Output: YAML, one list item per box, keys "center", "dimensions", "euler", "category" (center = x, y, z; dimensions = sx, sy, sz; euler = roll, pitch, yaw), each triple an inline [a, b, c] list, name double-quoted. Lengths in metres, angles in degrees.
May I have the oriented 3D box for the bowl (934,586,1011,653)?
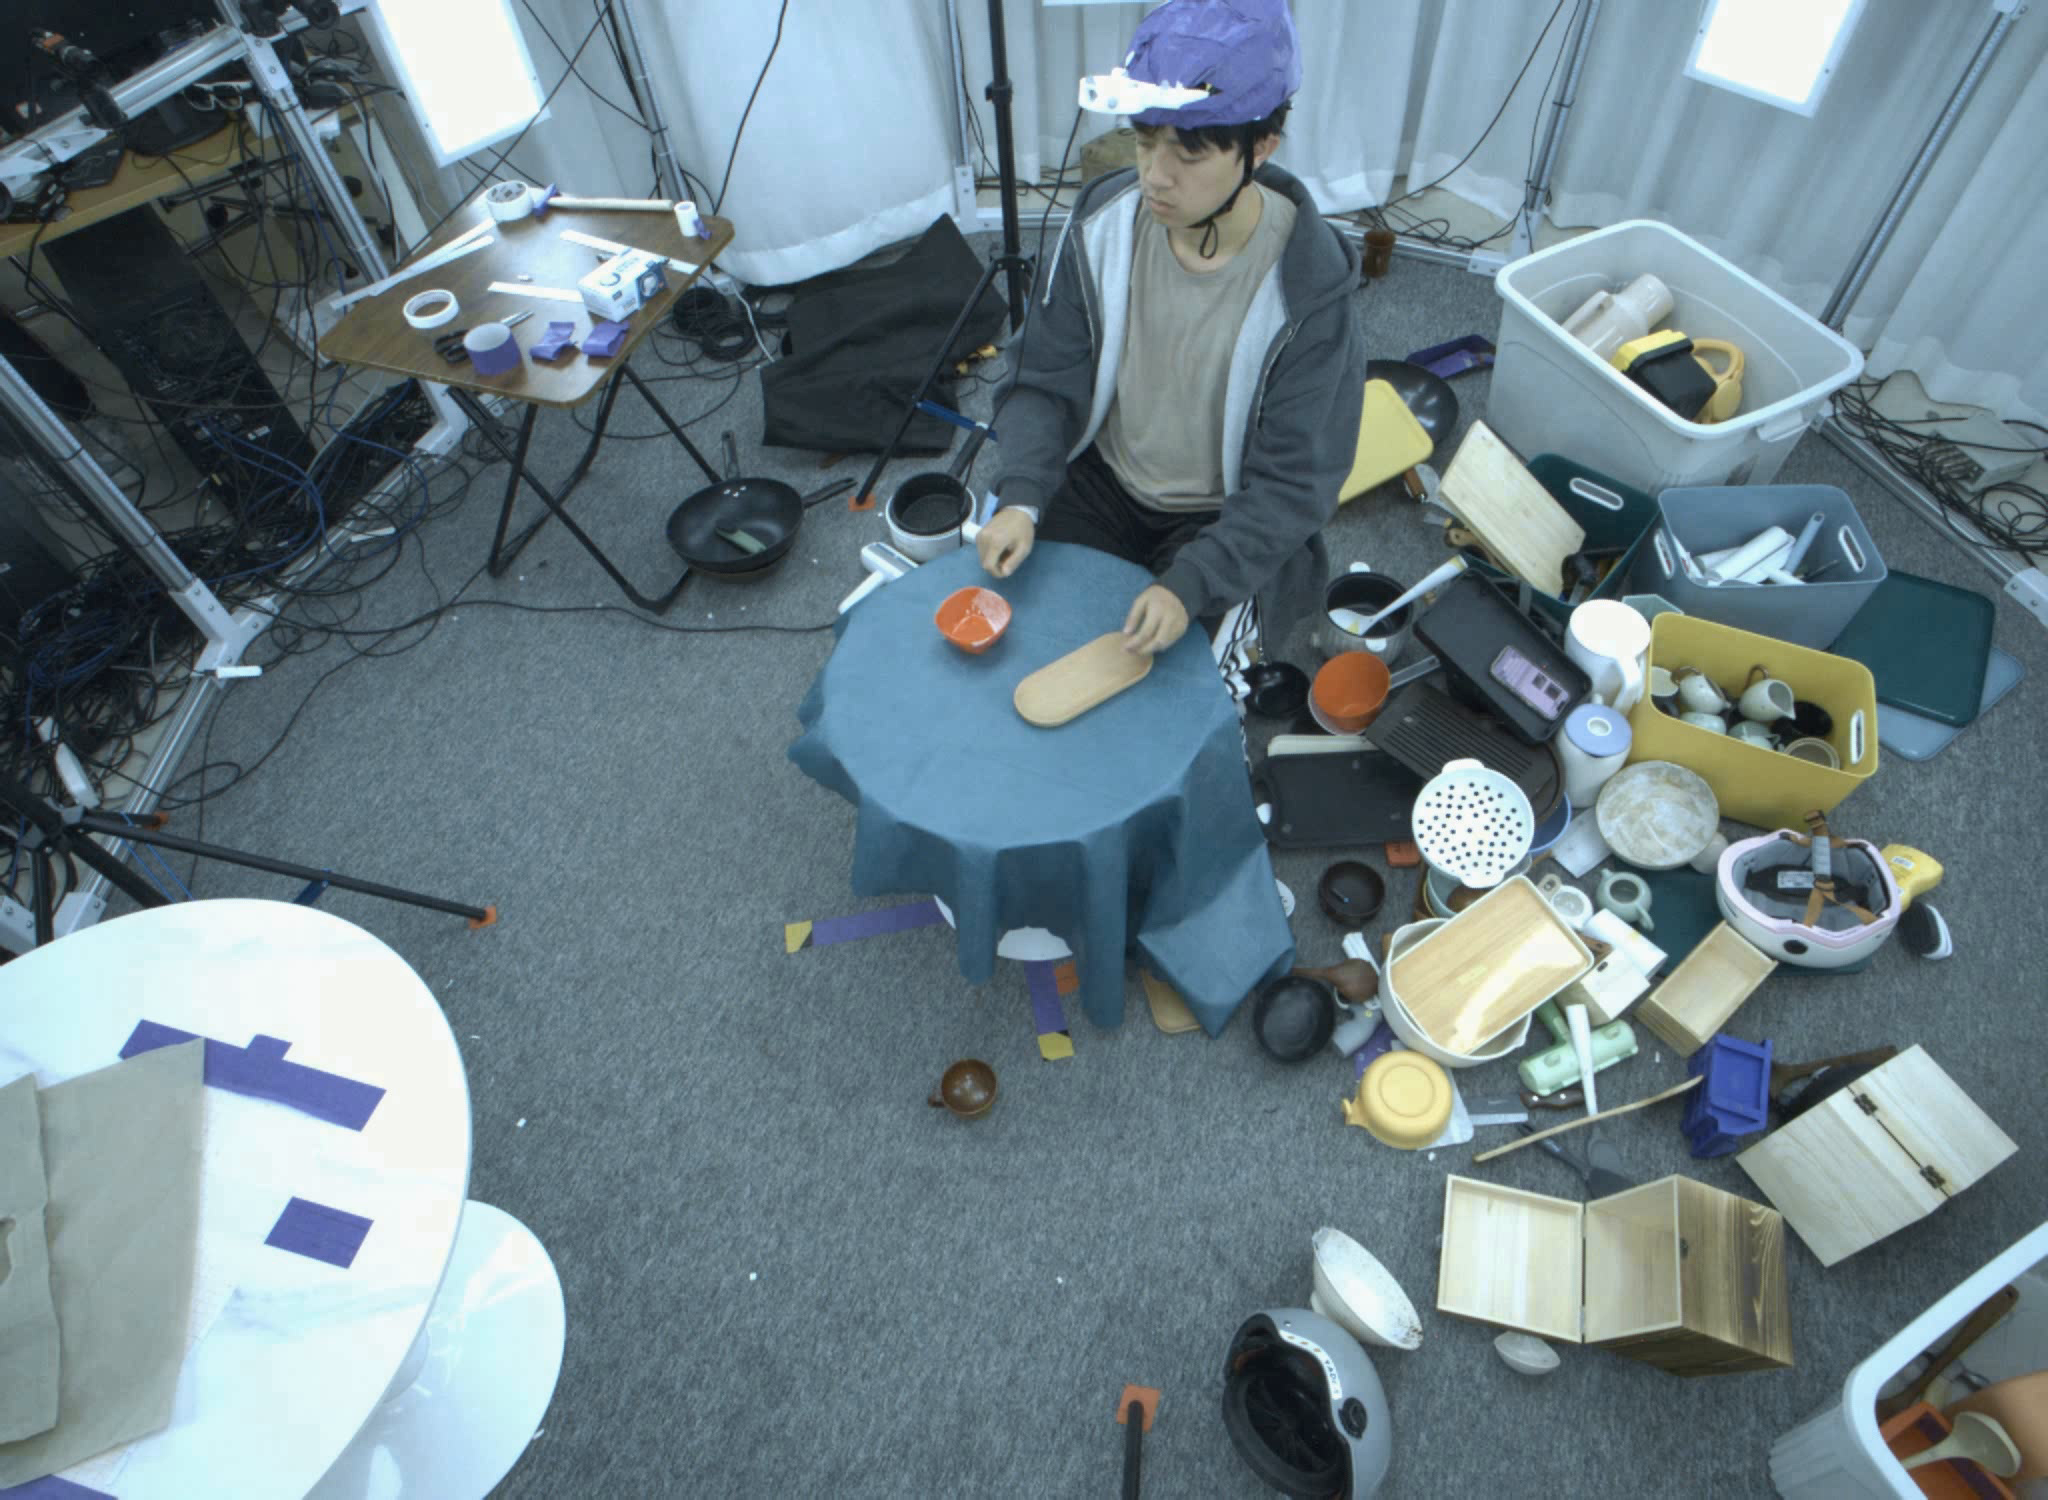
- center: [-0.077, -0.194, 1.898]
  dimensions: [0.119, 0.052, 0.117]
  euler: [-1, 55, 3]
  category: "bowl"

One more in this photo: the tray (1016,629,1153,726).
- center: [0.092, -0.110, 1.855]
  dimensions: [0.233, 0.020, 0.100]
  euler: [-30, 60, -19]
  category: "tray"
